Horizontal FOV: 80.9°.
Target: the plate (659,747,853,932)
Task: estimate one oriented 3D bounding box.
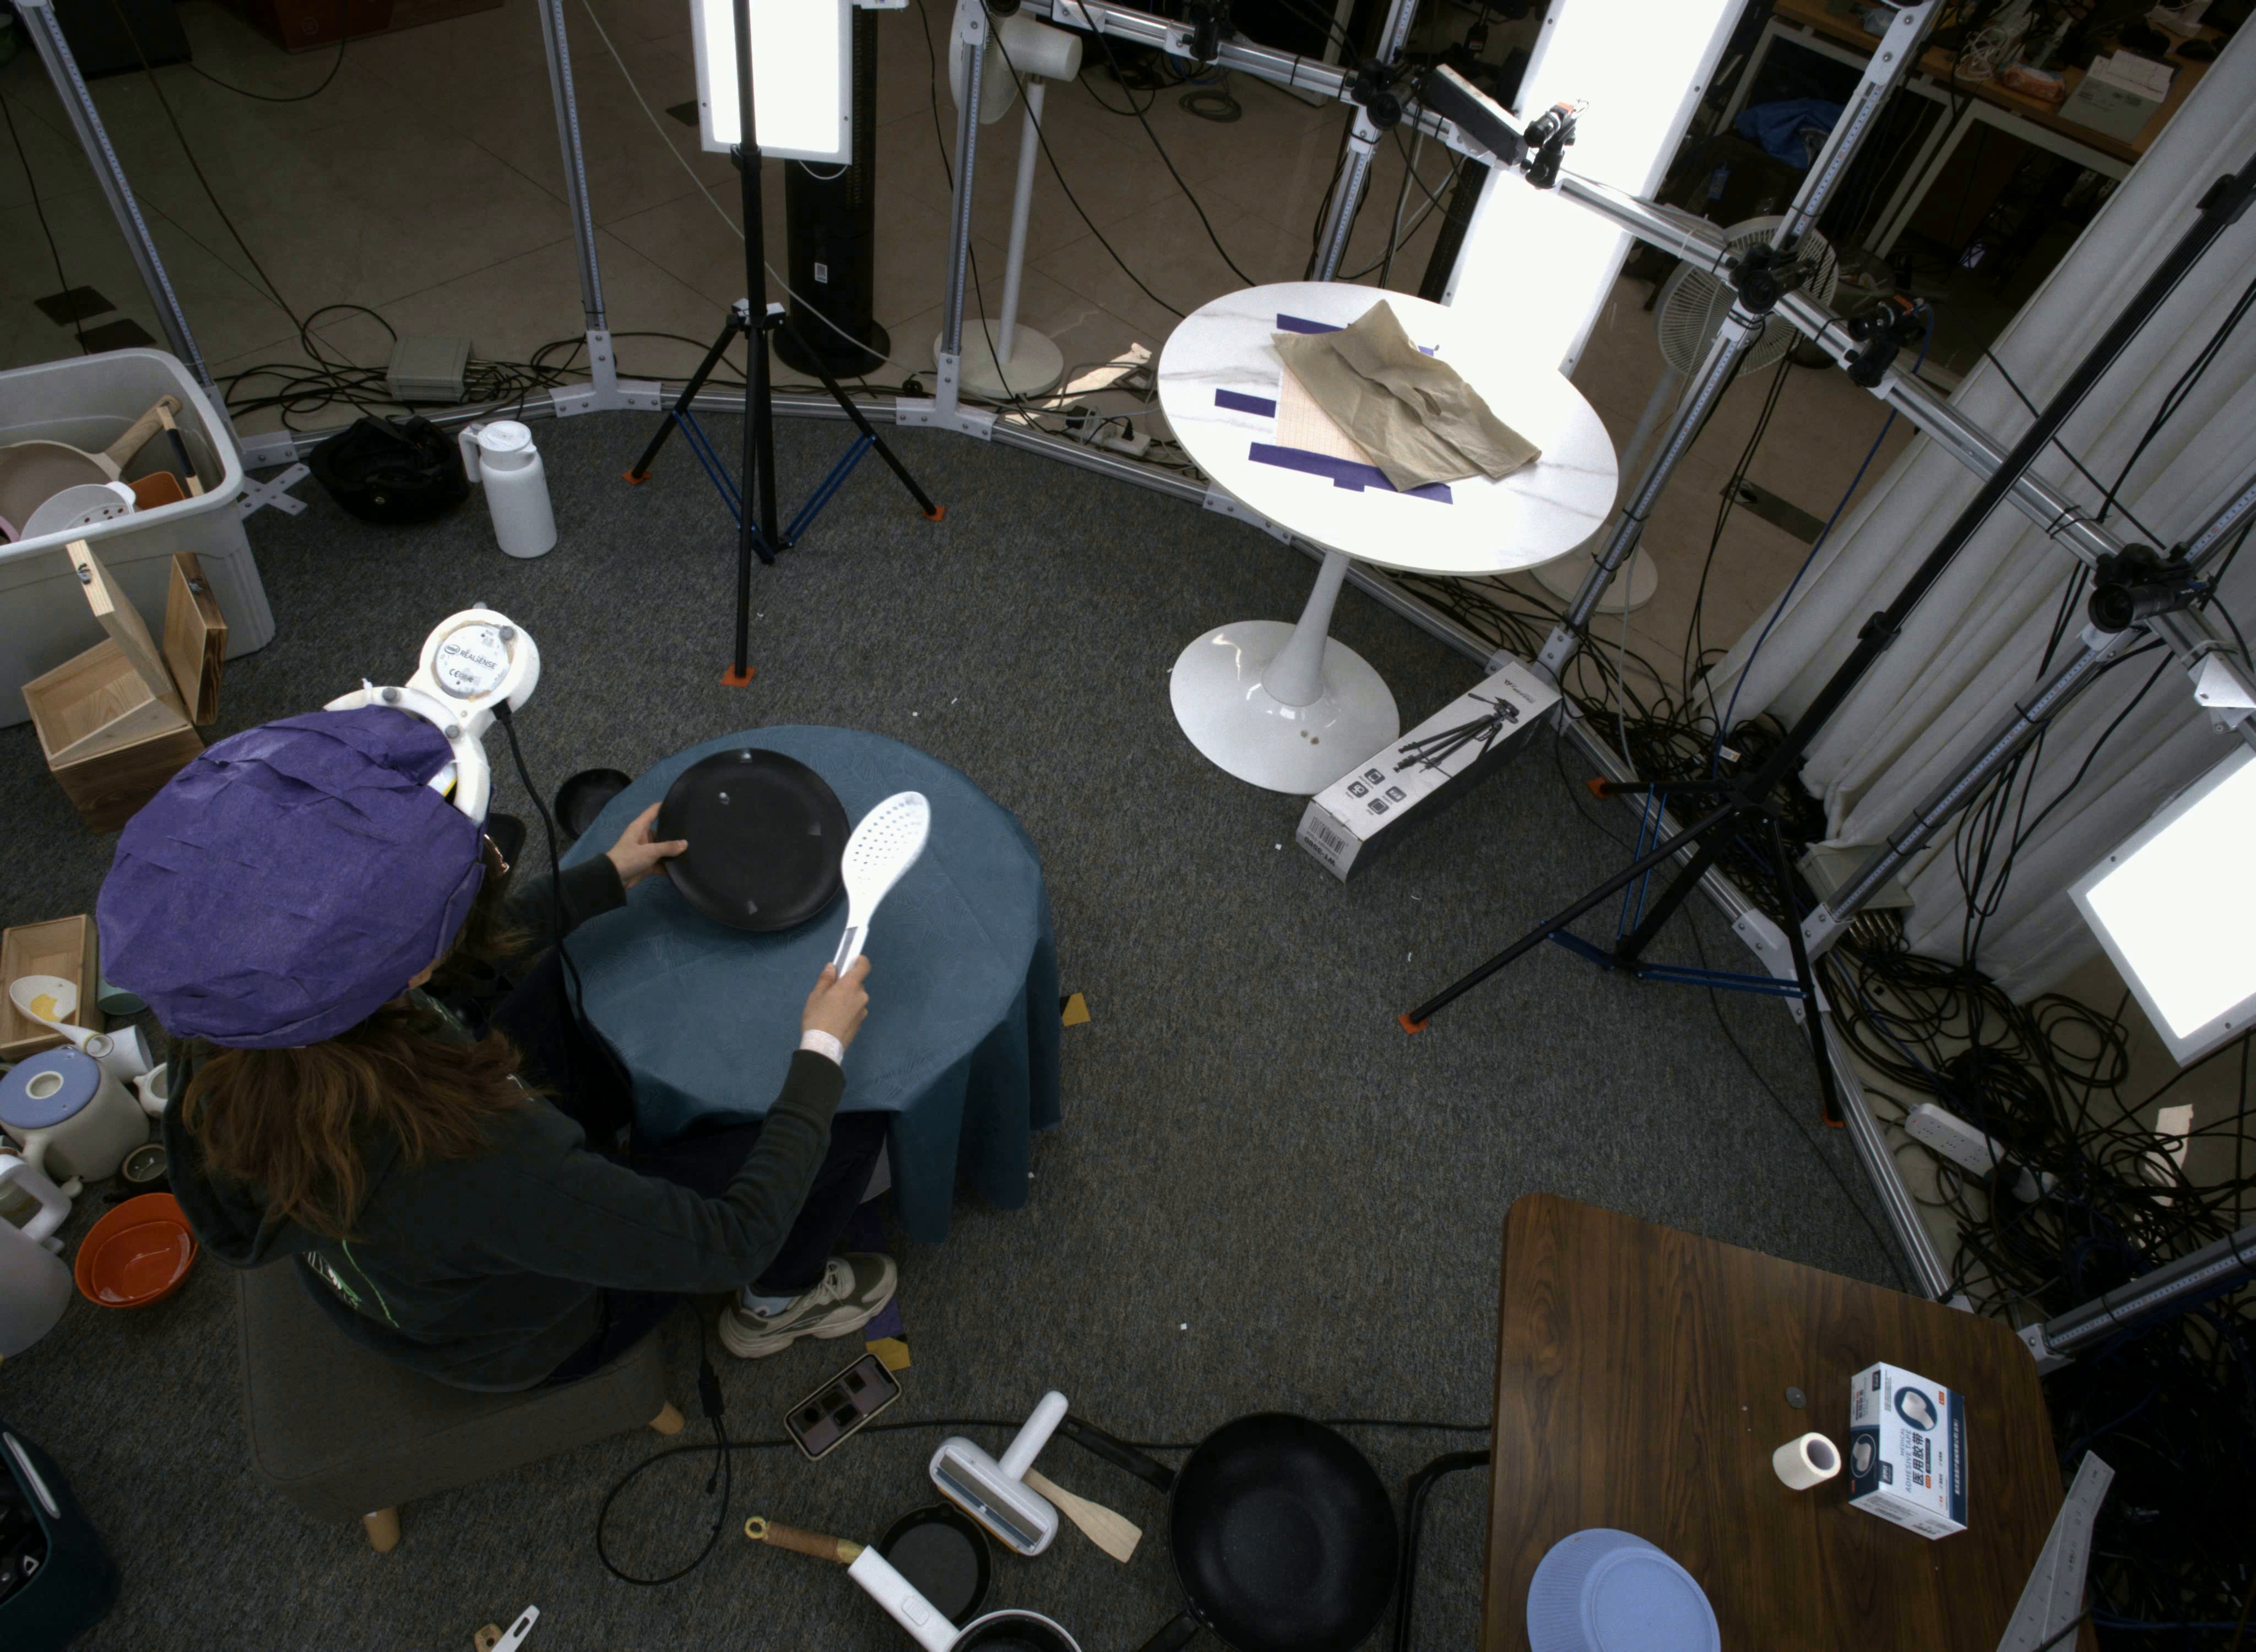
[{"bbox_3d":[-0.468,0.016,1.633,0.248,0.023,0.242,12,66,-26],"label":"plate"}]

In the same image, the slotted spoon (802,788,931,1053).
[{"bbox_3d":[-0.309,0.101,1.510,0.047,0.132,0.346,48,44,-35],"label":"slotted spoon"}]
